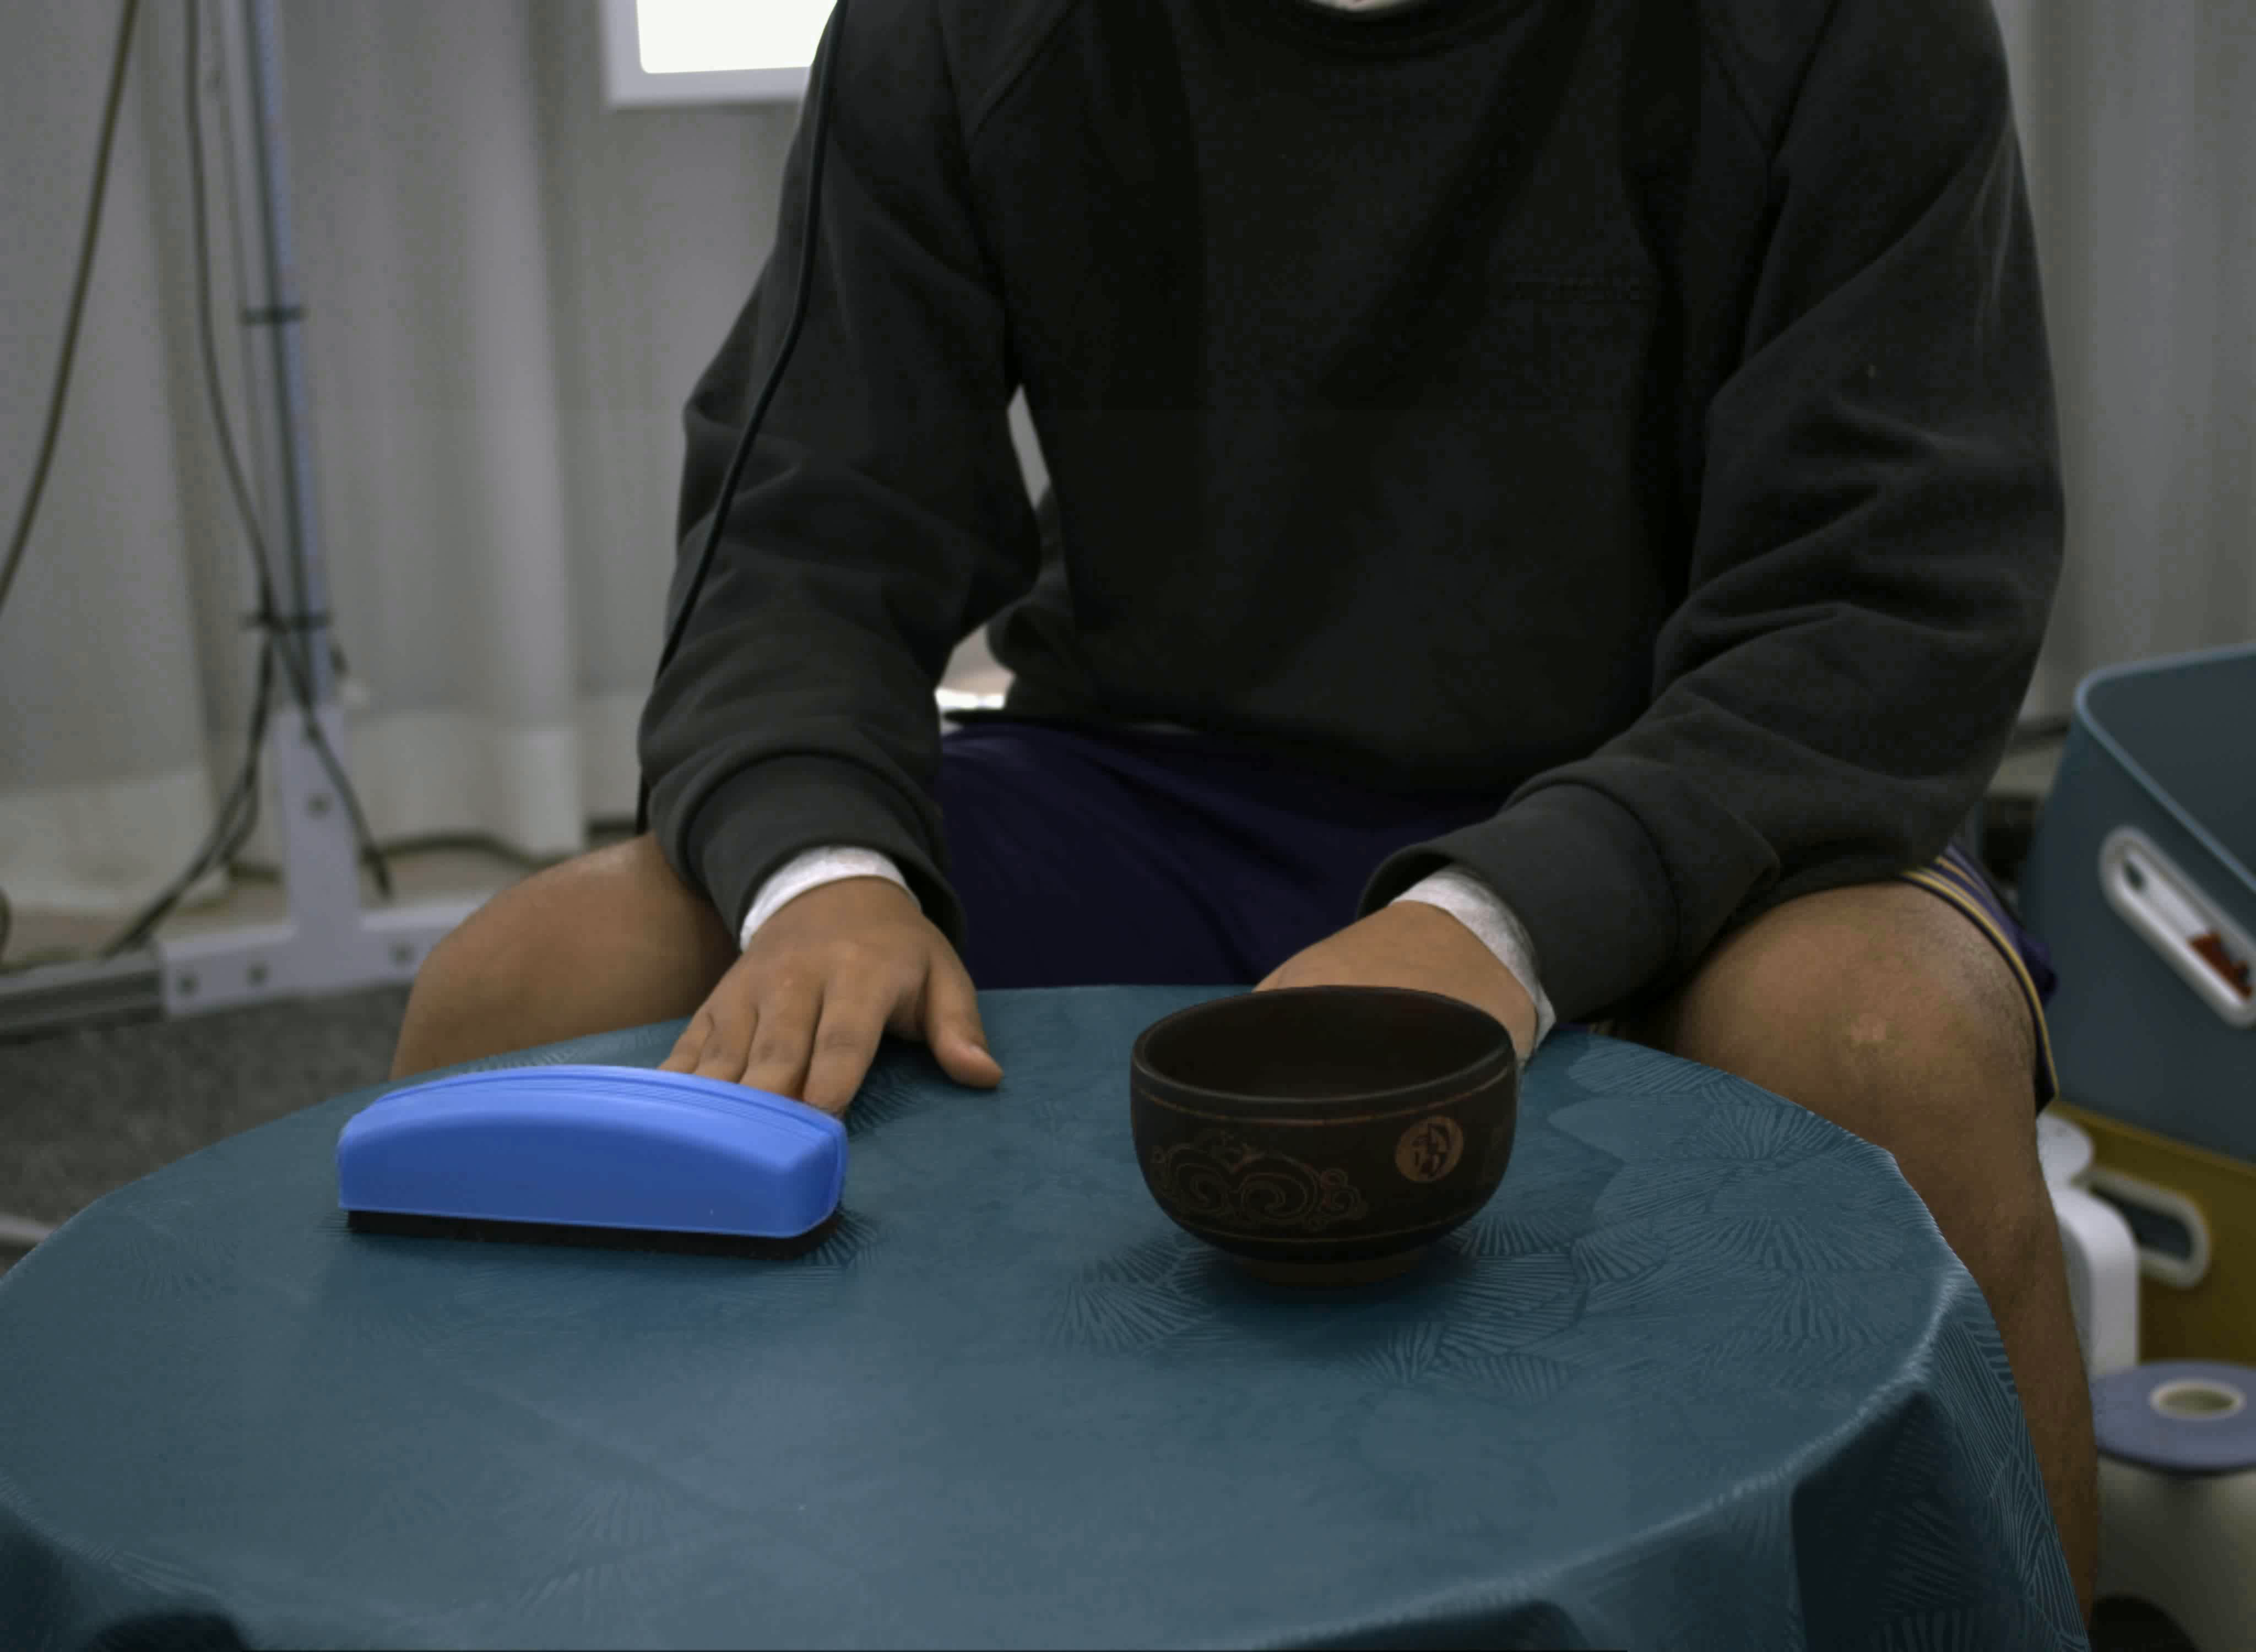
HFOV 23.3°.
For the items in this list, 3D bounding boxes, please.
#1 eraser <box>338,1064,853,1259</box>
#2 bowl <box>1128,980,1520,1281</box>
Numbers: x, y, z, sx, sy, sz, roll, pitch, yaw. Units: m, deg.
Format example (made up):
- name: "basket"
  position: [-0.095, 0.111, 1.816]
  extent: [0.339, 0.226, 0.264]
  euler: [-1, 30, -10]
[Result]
- name: "eraser"
  position: [-0.167, 0.102, 1.707]
  extent: [0.162, 0.047, 0.054]
  euler: [2, 16, 18]
- name: "bowl"
  position: [0.059, 0.095, 1.637]
  extent: [0.117, 0.069, 0.119]
  euler: [-3, 13, 1]
